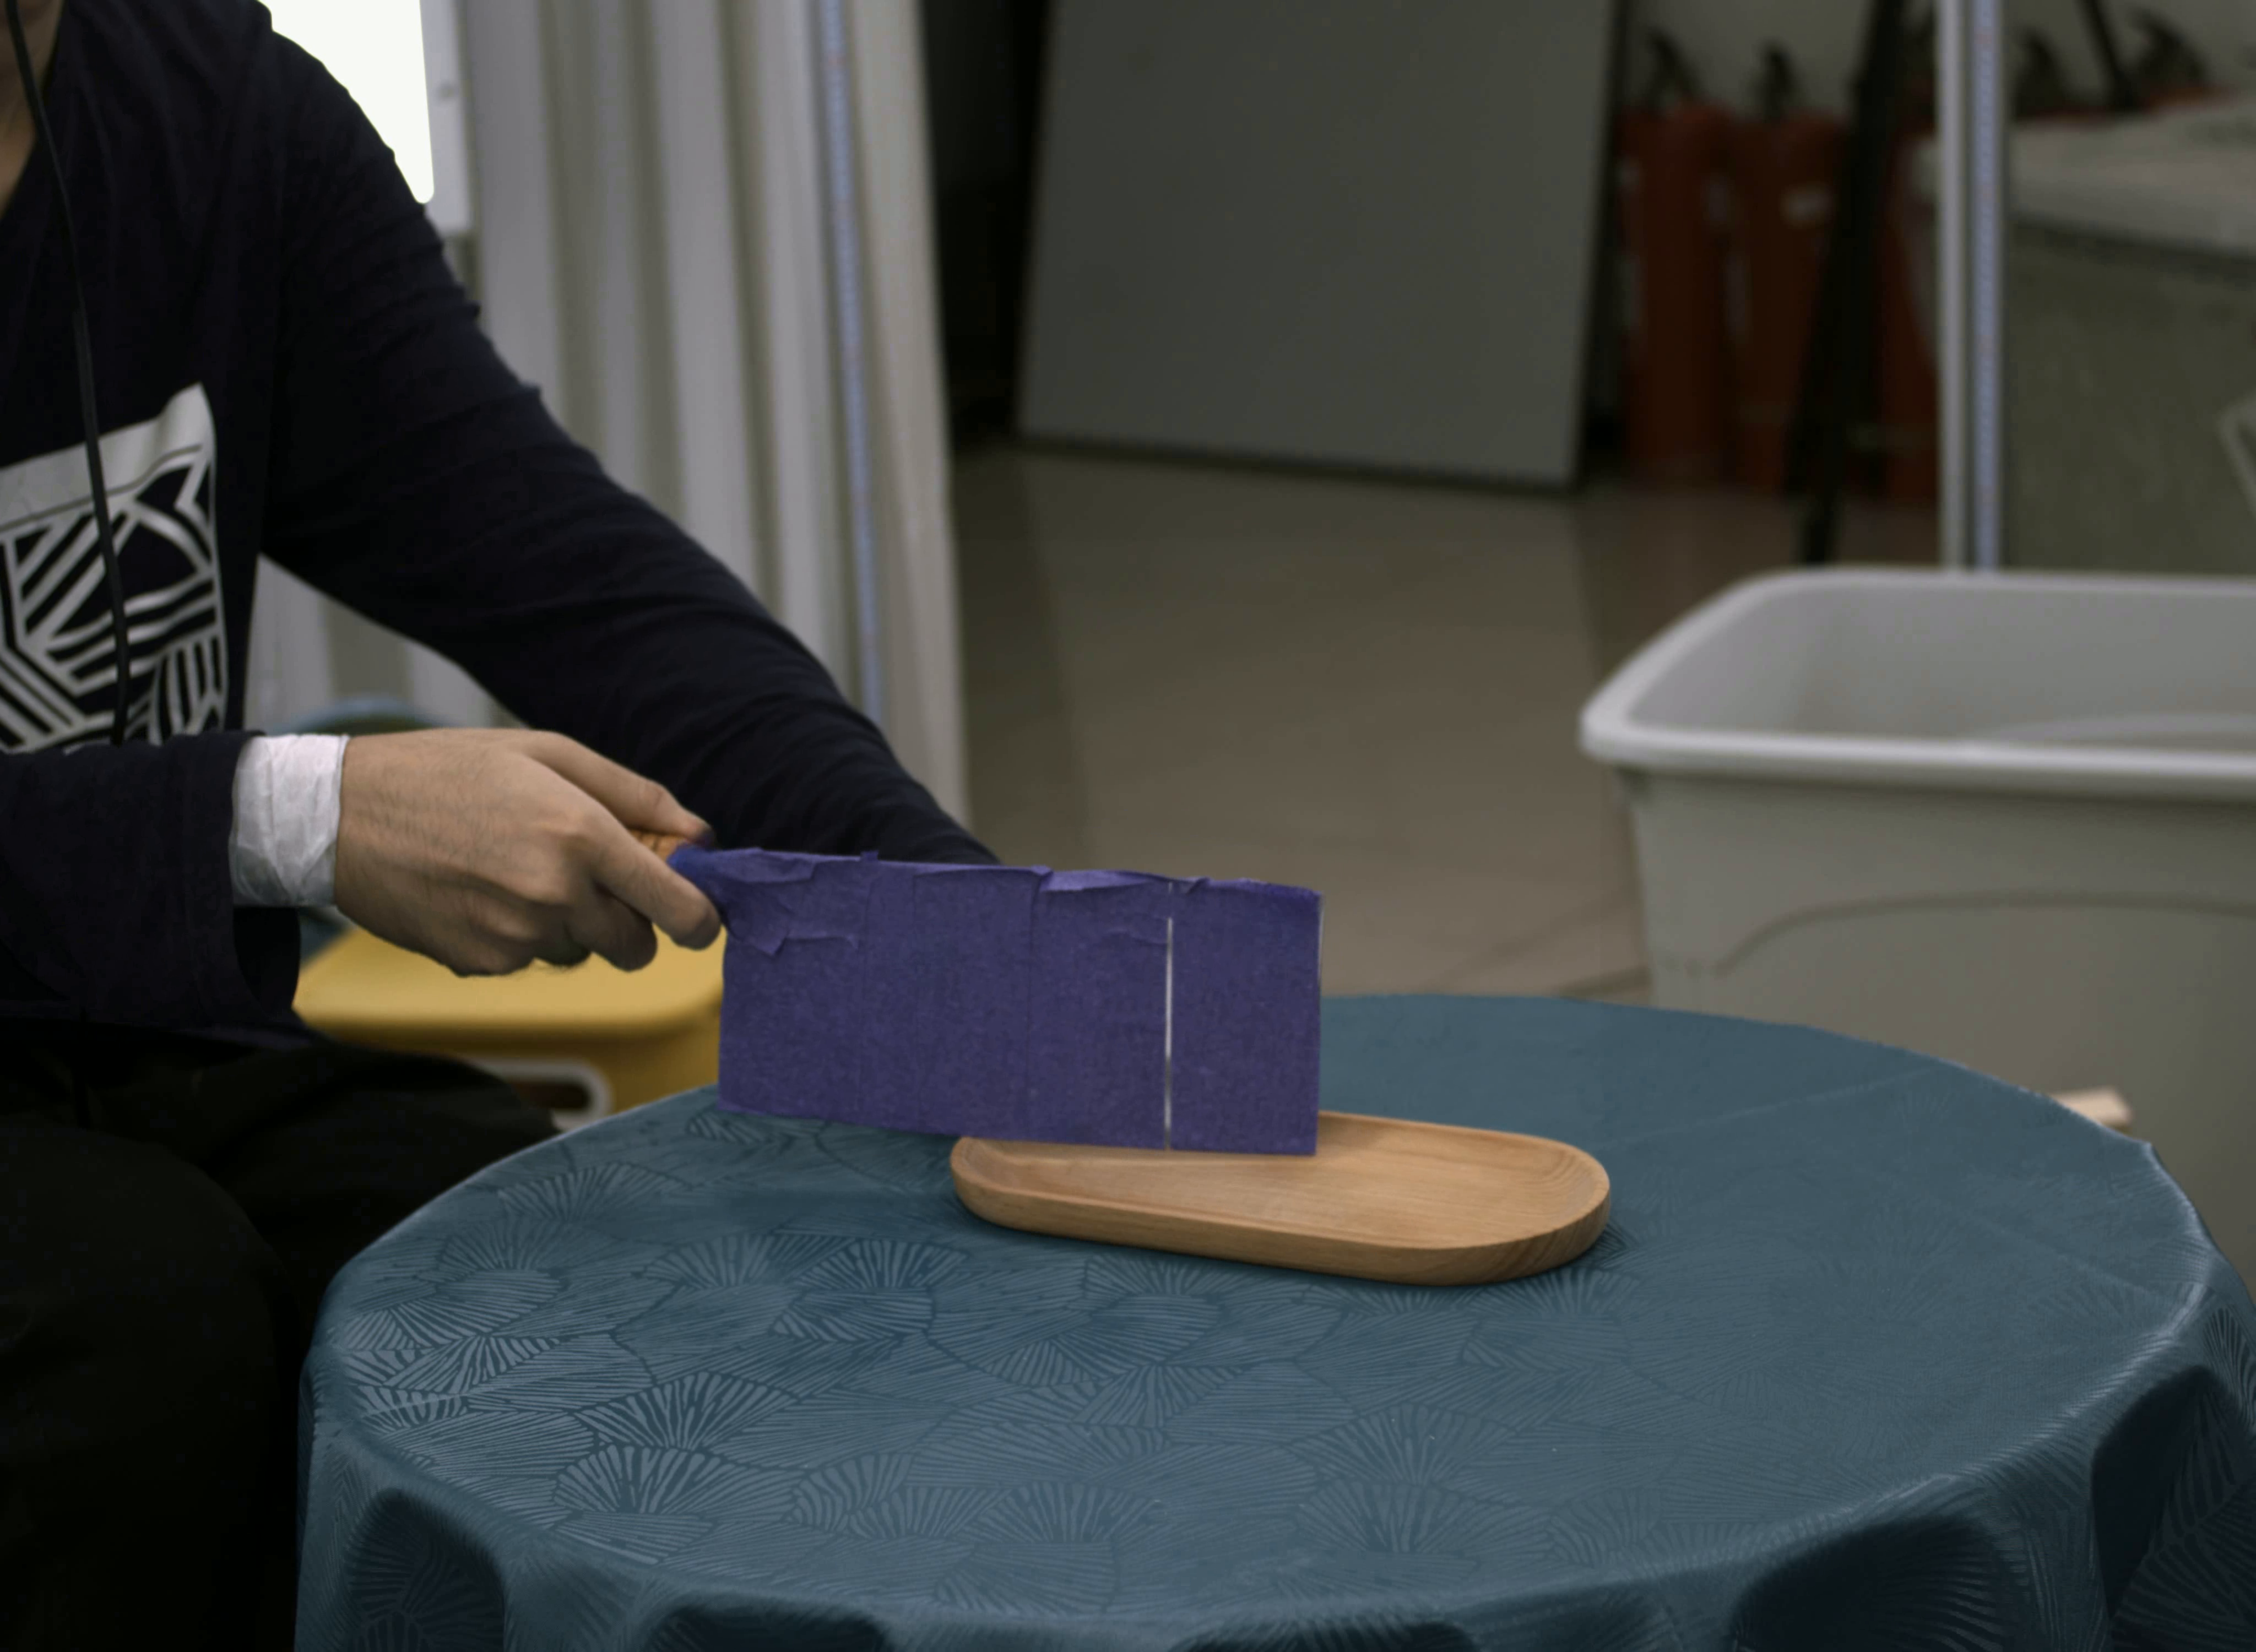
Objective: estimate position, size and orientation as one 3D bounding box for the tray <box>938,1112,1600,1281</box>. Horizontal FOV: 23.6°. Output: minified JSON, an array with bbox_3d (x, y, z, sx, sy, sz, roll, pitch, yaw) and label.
[{"bbox_3d":[0.044,0.117,1.738,0.232,0.020,0.100,2,17,31],"label":"tray"}]

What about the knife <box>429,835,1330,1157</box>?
[{"bbox_3d":[-0.085,0.055,1.791,0.314,0.105,0.032,2,1,18],"label":"knife"}]
